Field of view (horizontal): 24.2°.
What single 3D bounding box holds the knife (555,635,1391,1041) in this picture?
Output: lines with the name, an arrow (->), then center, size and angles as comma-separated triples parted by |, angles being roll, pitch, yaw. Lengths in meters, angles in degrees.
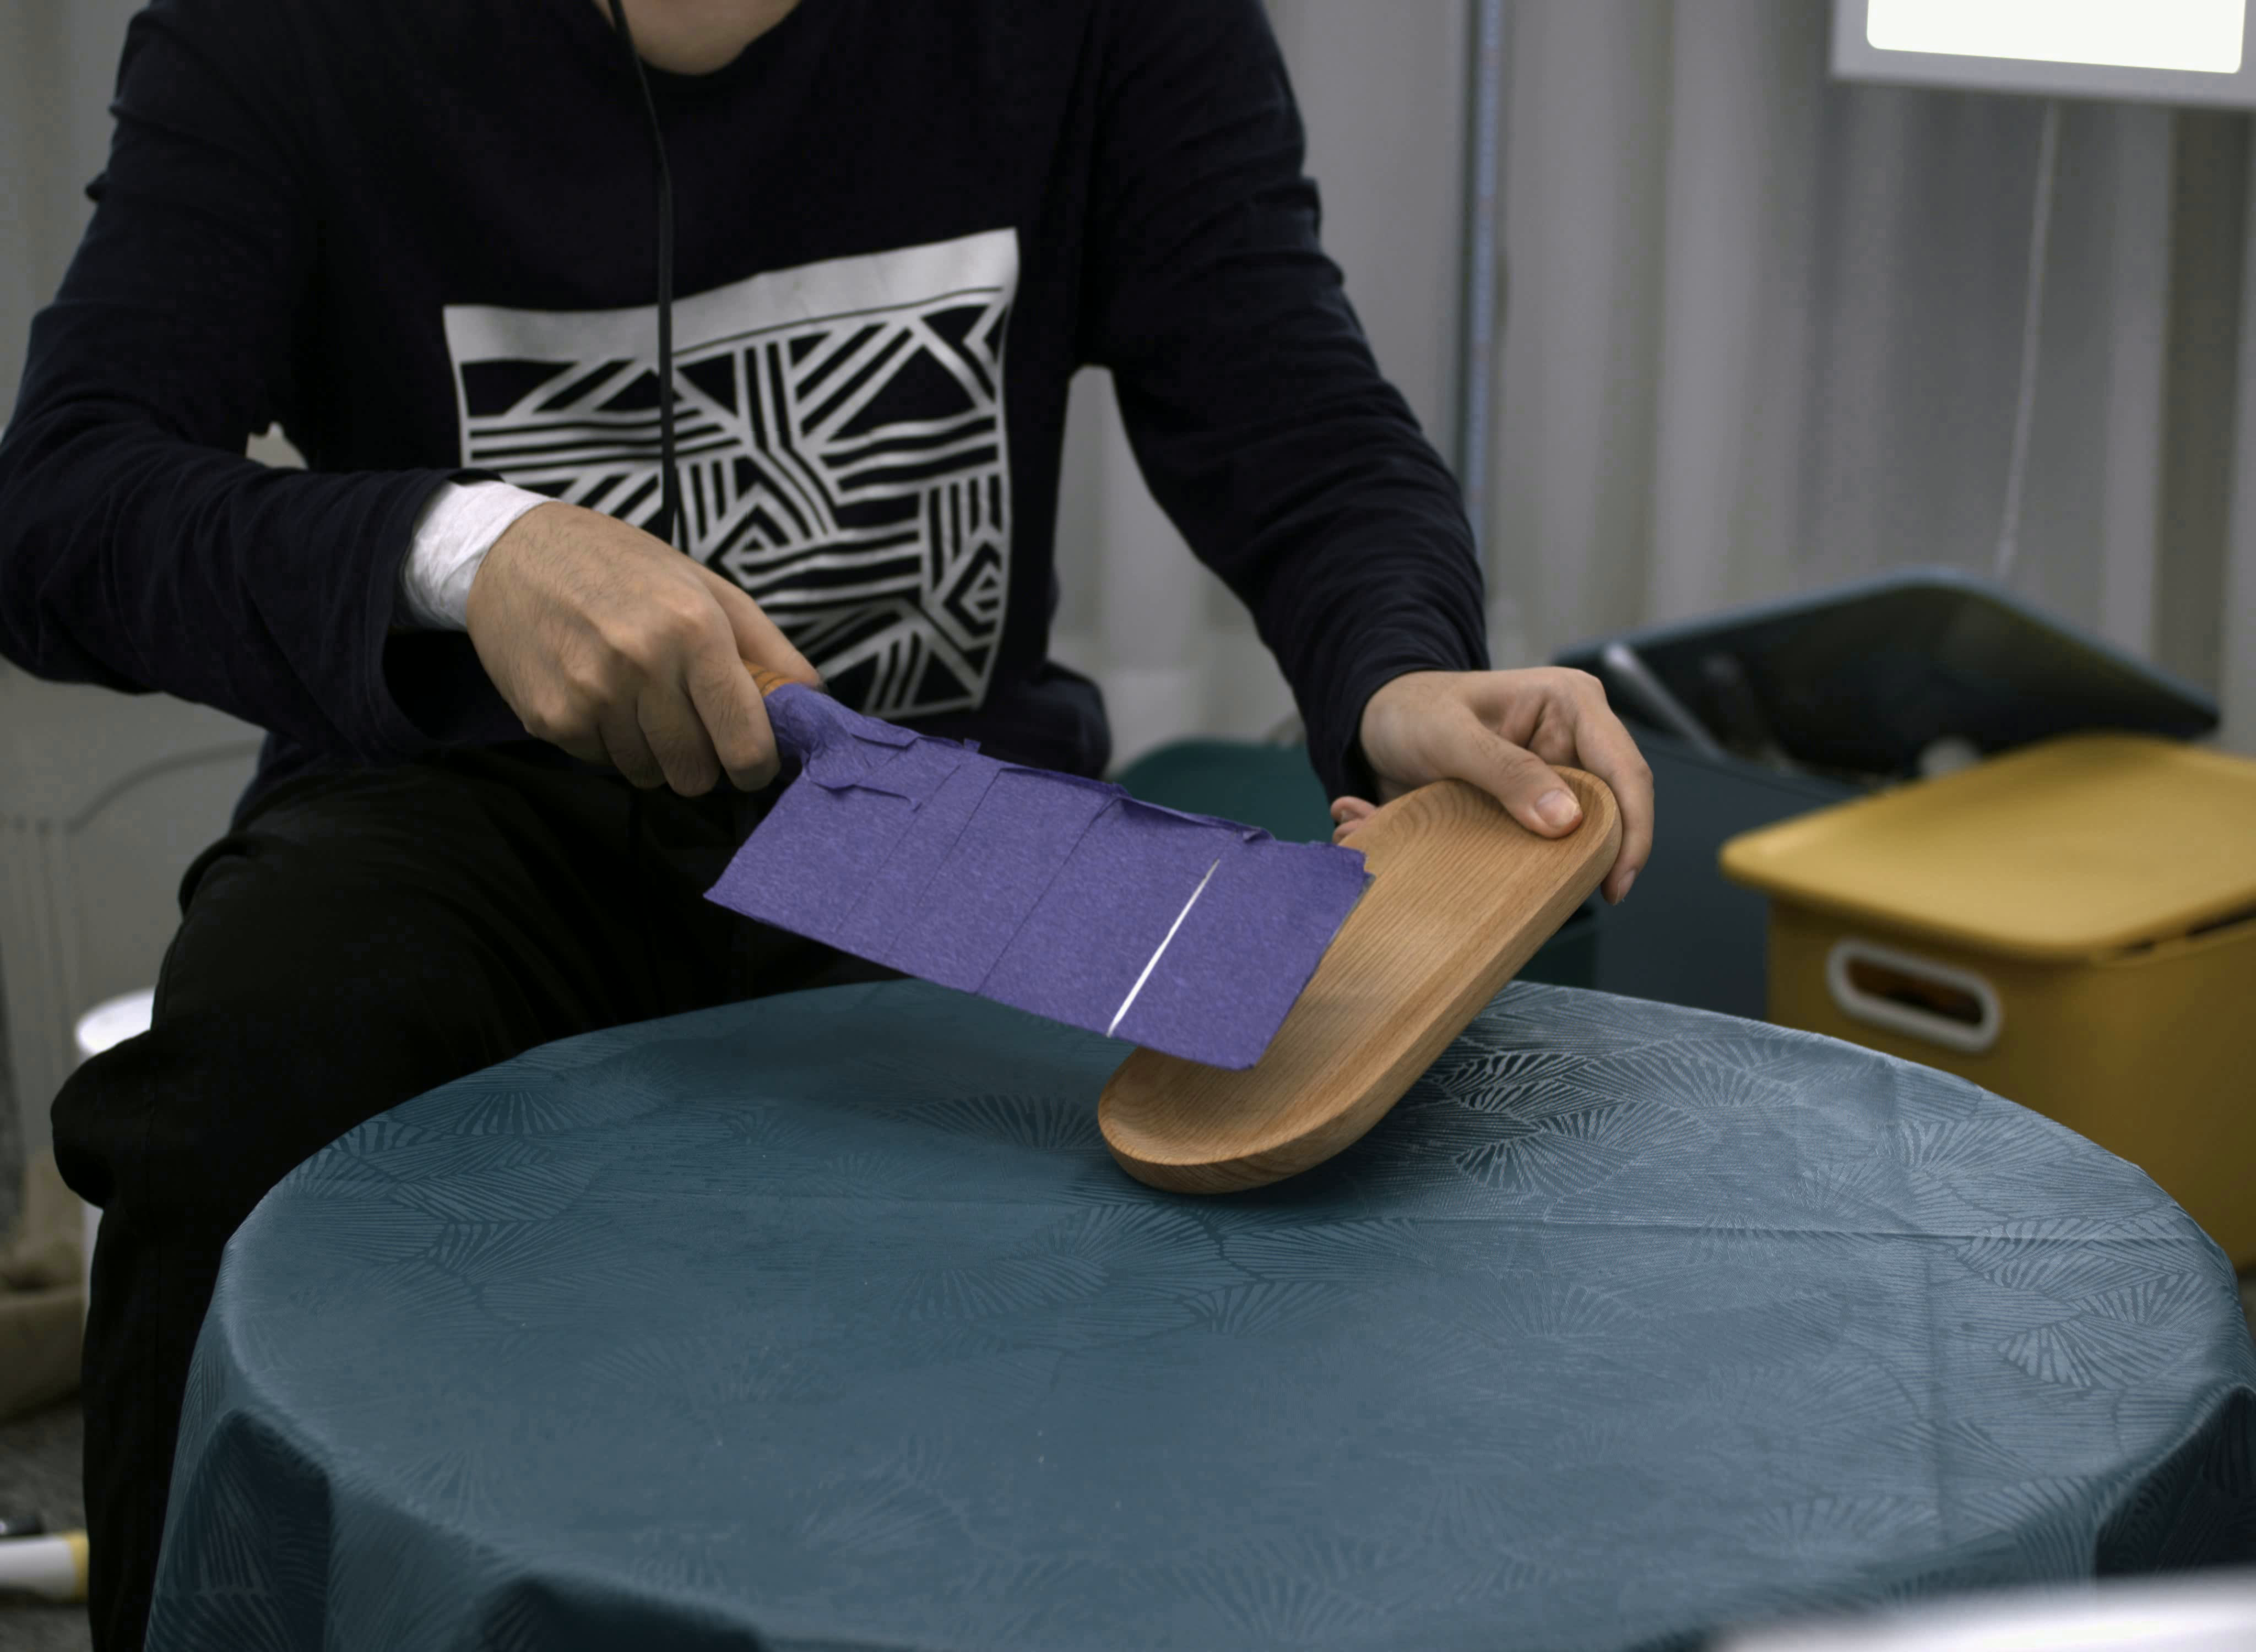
knife -> -0.072, 0.002, 1.705 | 0.311, 0.032, 0.103 | 14, 52, 29

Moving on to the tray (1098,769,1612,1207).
tray -> 0.075, 0.050, 1.684 | 0.100, 0.020, 0.231 | 2, 36, 39
